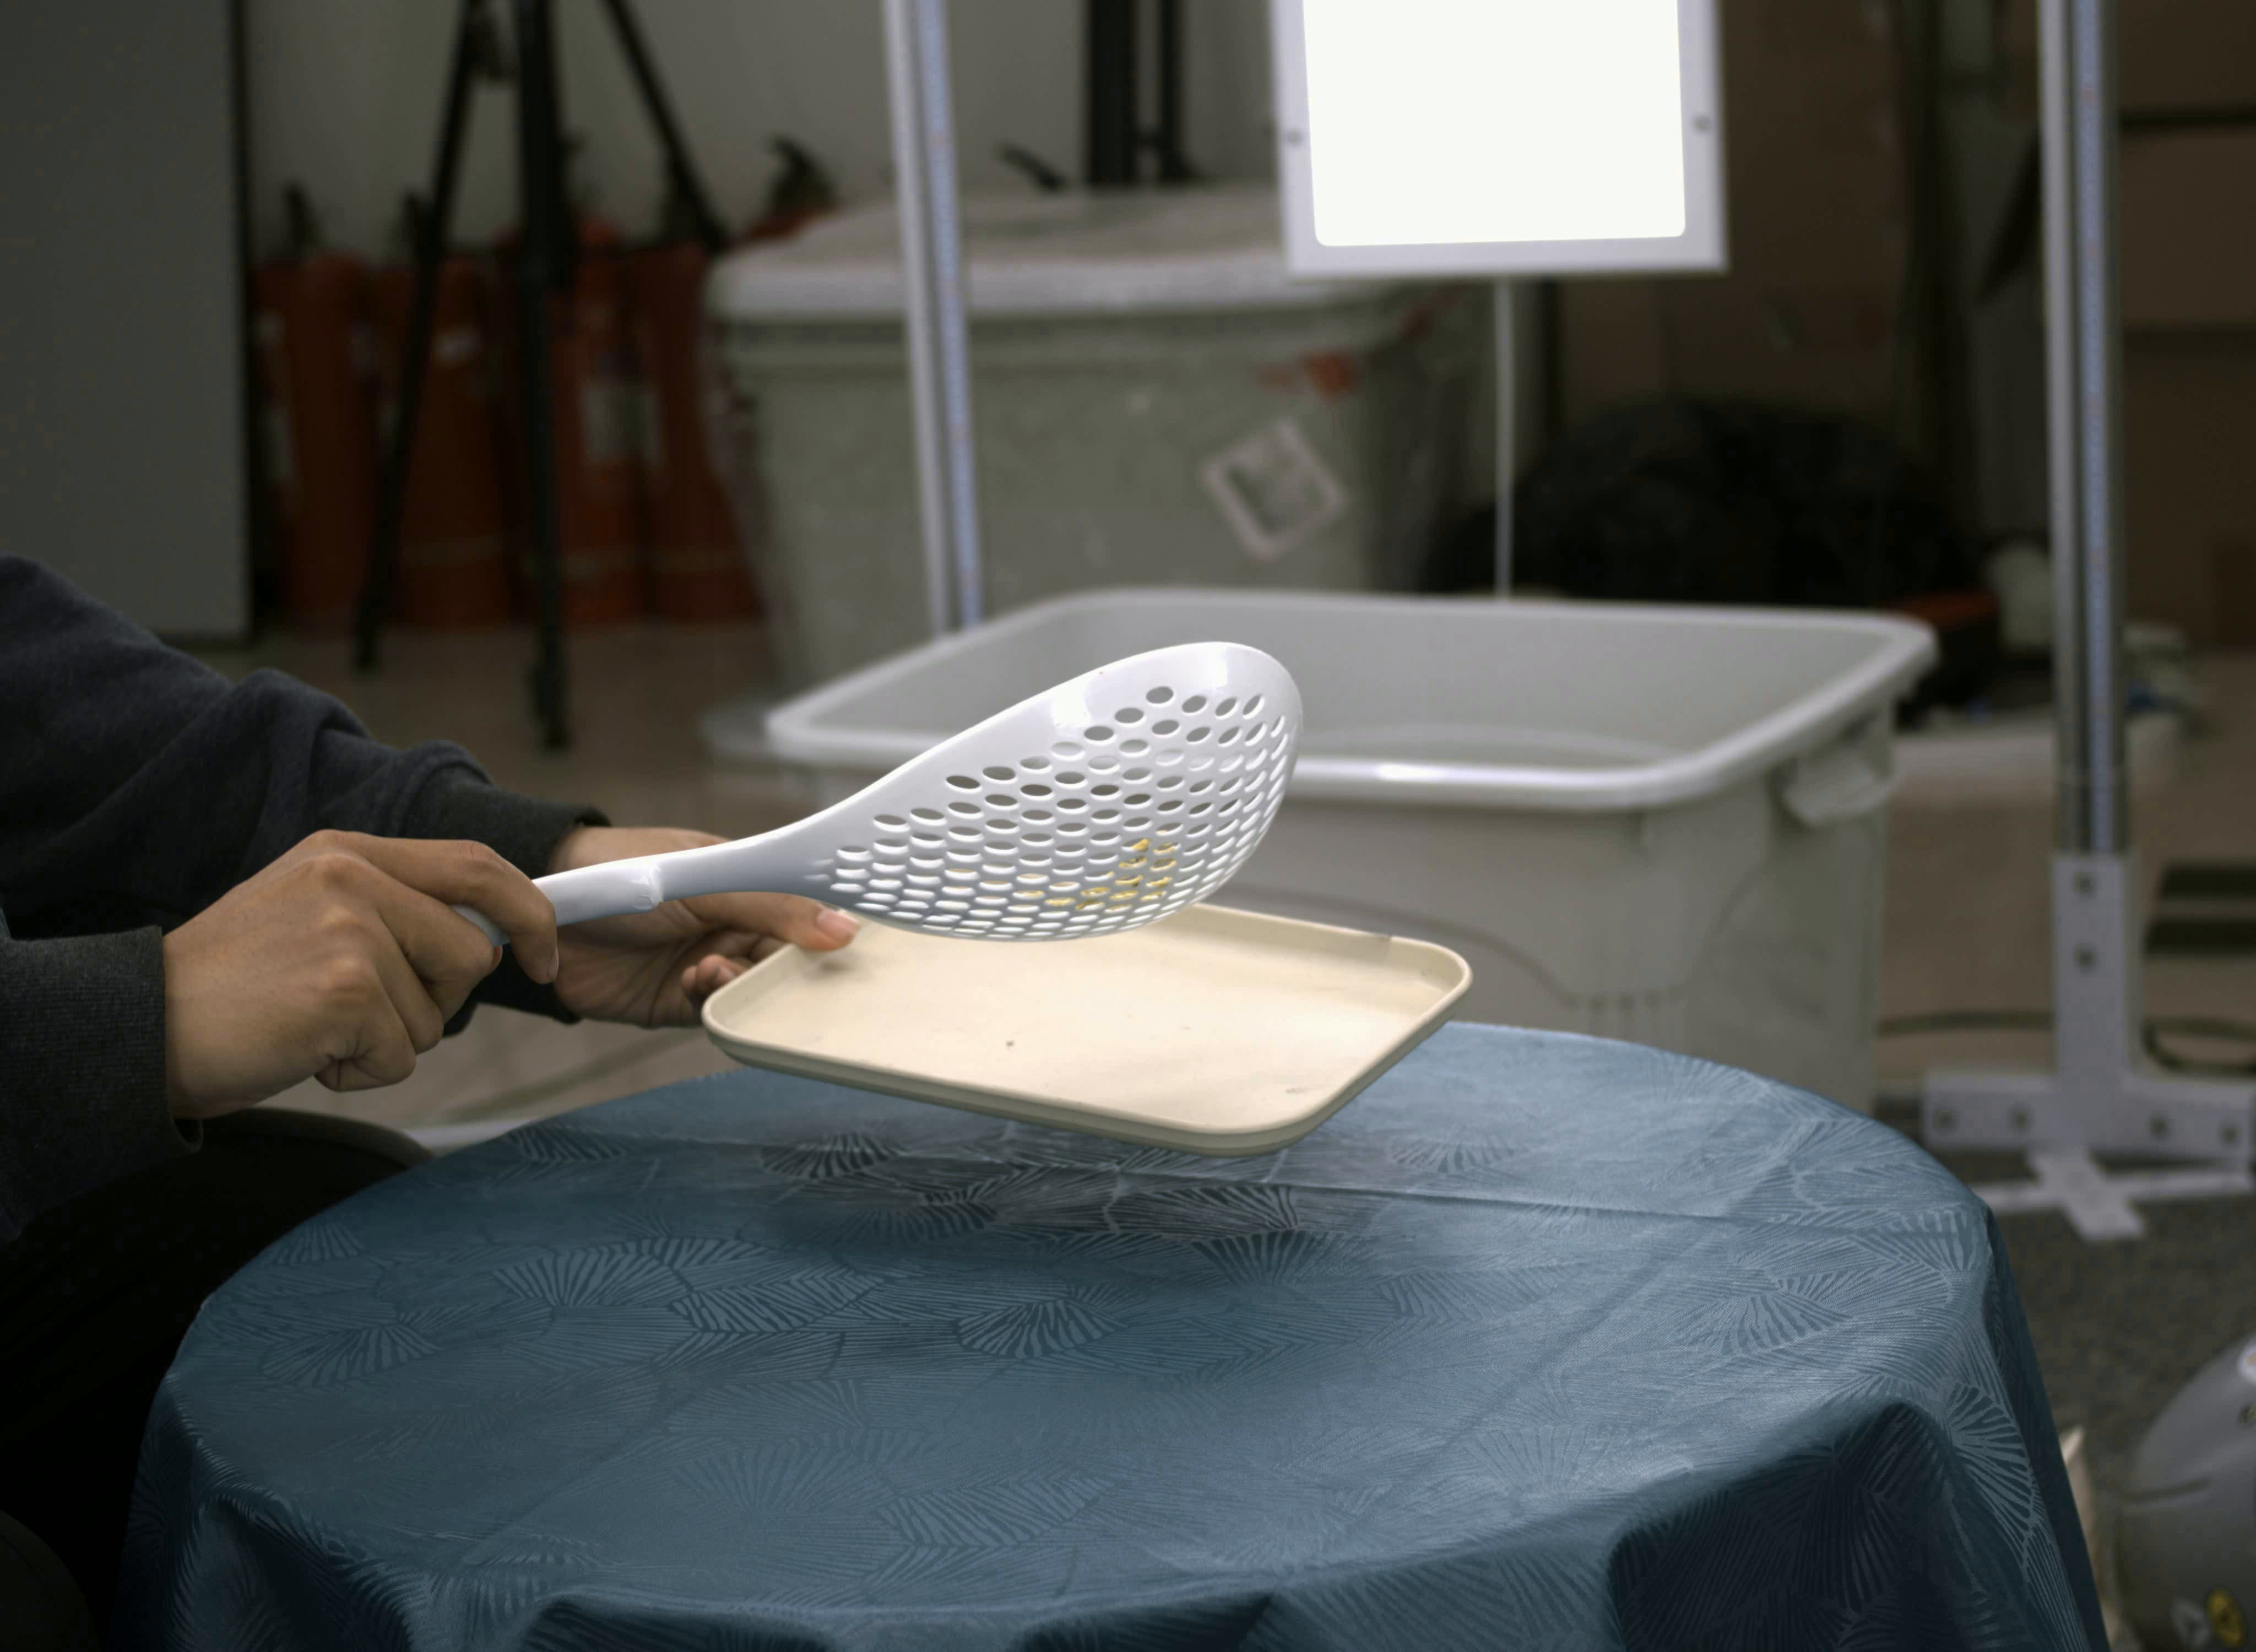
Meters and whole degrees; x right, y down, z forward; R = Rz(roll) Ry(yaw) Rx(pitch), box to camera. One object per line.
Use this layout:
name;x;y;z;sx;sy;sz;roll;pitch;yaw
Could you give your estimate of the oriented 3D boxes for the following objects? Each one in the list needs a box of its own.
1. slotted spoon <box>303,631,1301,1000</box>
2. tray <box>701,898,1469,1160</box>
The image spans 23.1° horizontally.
slotted spoon;-0.098;0.015;1.735;0.341;0.138;0.050;-8;53;-20
tray;-0.014;0.063;1.907;0.244;0.017;0.167;9;26;30
